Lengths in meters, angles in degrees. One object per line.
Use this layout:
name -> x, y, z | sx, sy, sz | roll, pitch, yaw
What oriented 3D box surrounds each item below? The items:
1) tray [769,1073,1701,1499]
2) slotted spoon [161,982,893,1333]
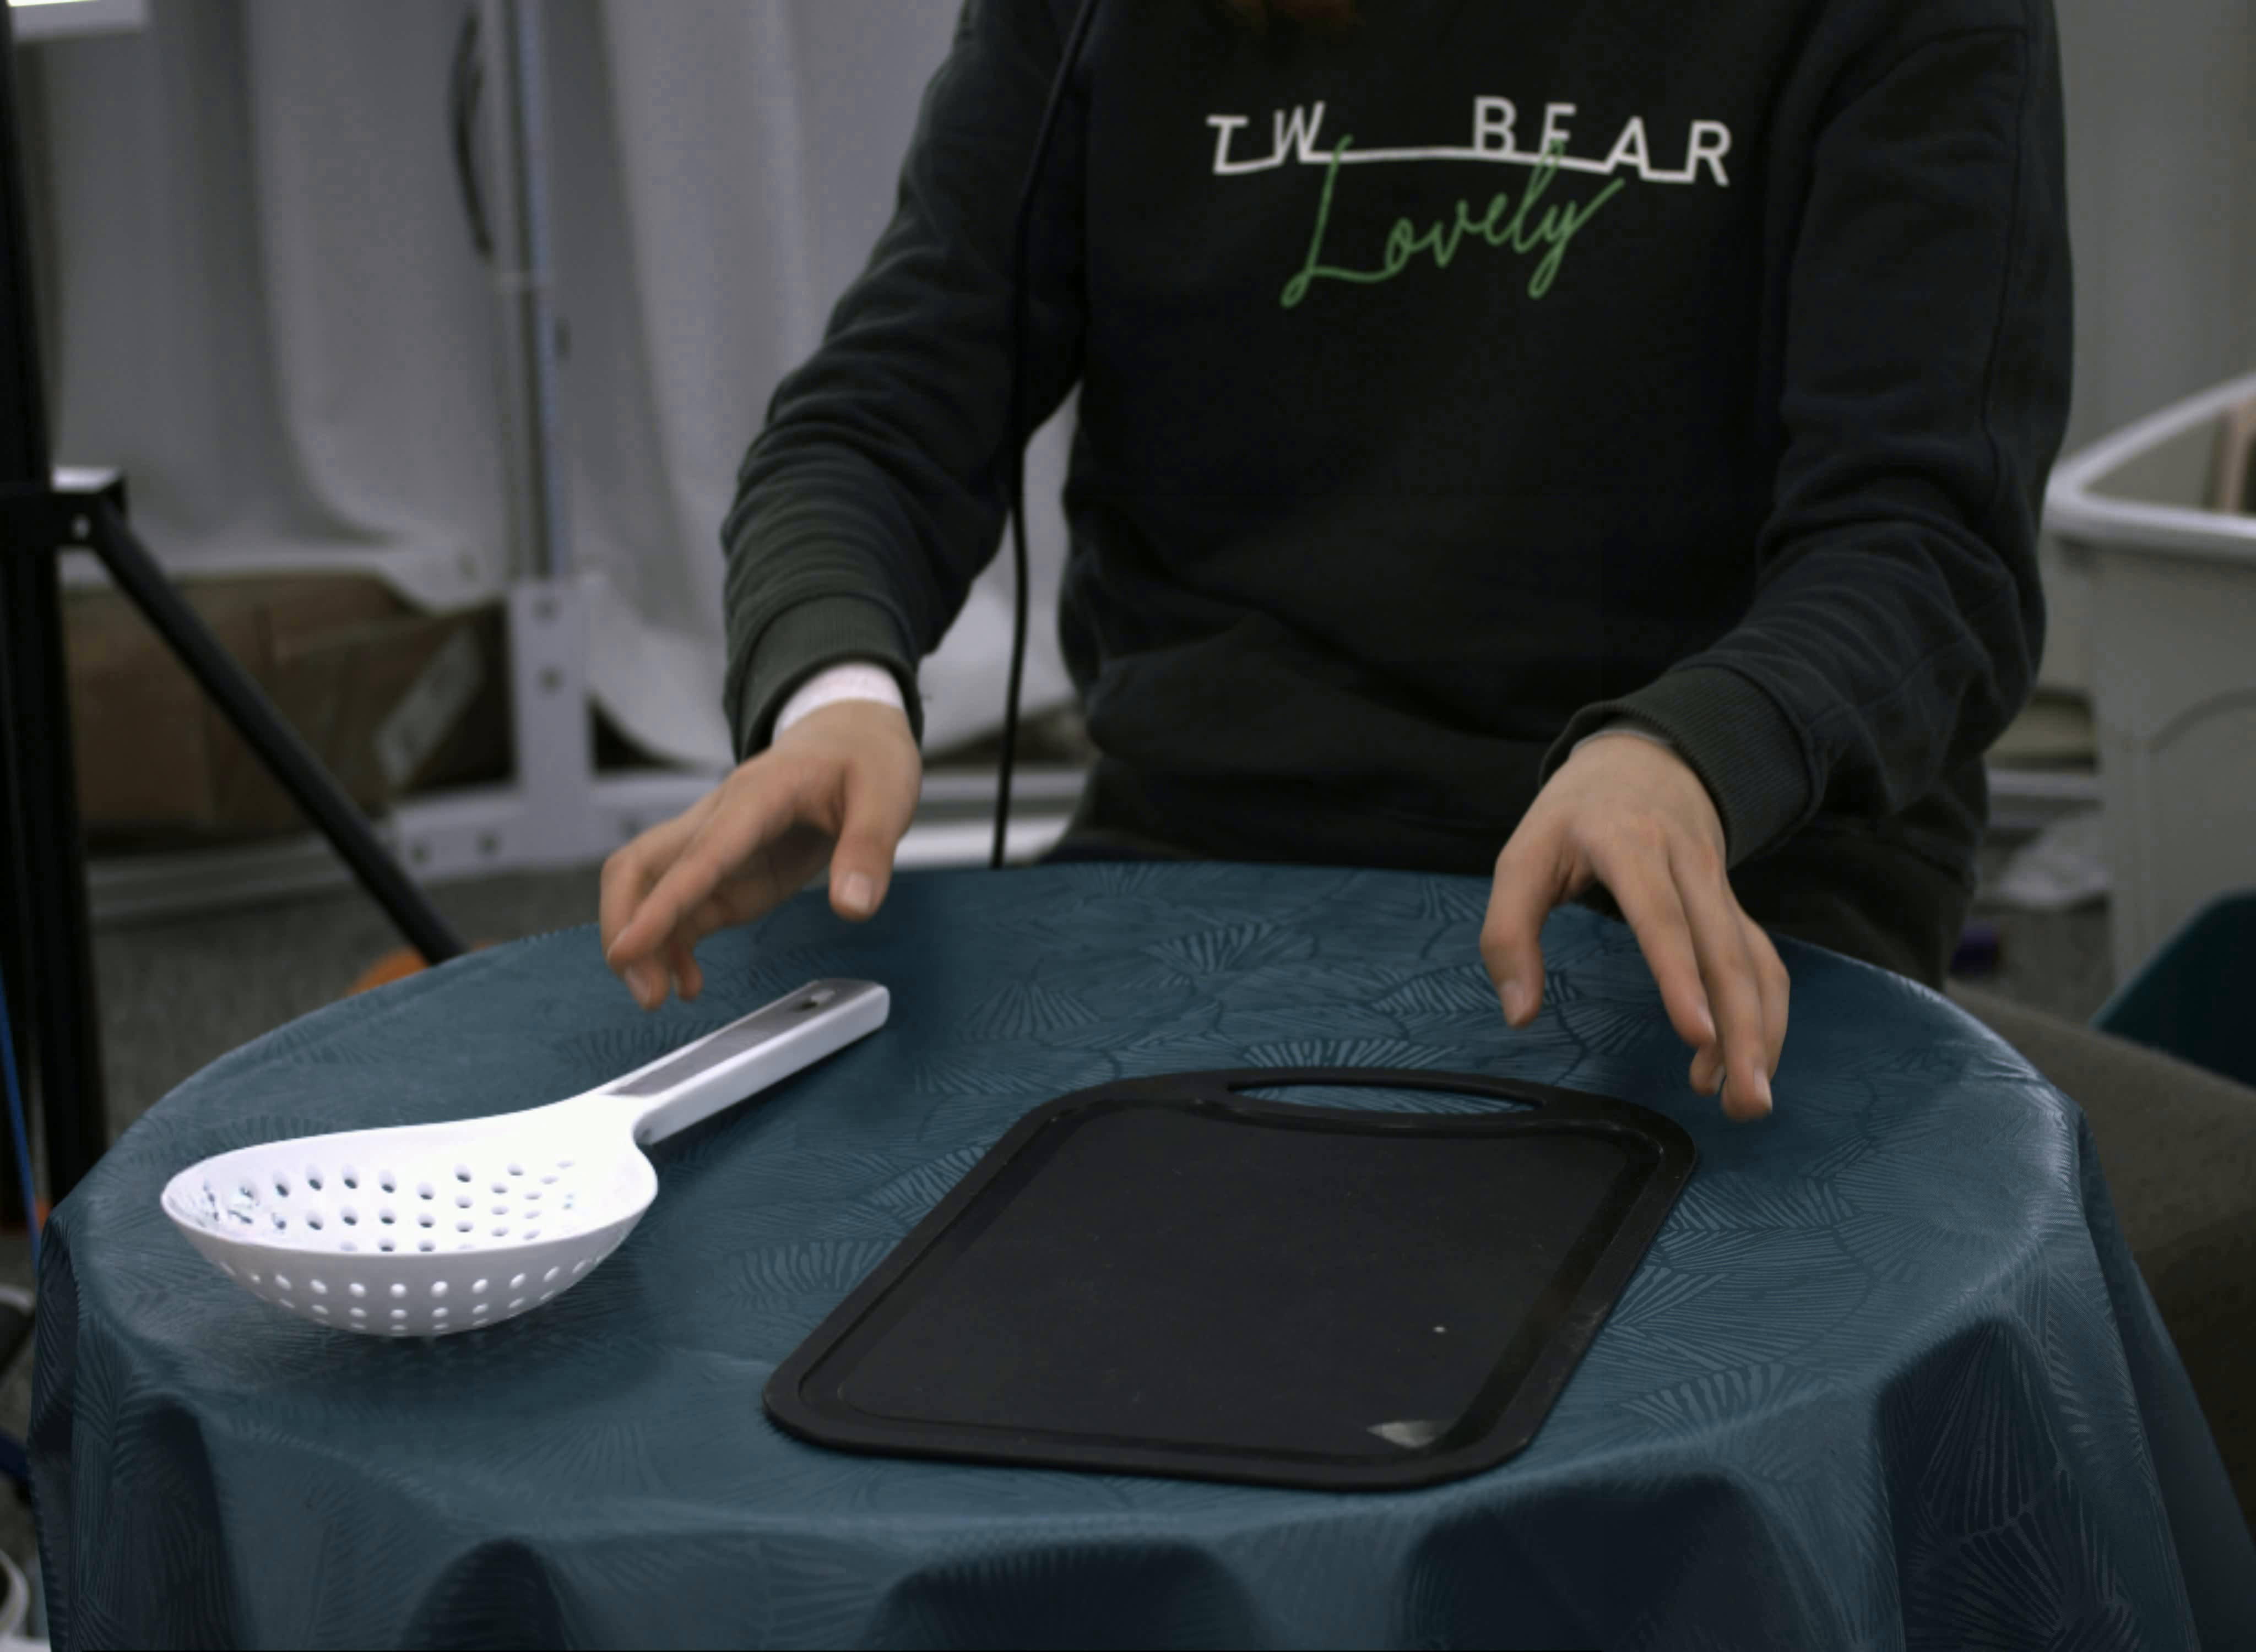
tray -> 0.039, 0.120, 1.496 | 0.213, 0.010, 0.322 | 3, 16, 18
slotted spoon -> -0.156, 0.088, 1.571 | 0.138, 0.046, 0.344 | 6, 17, 23
